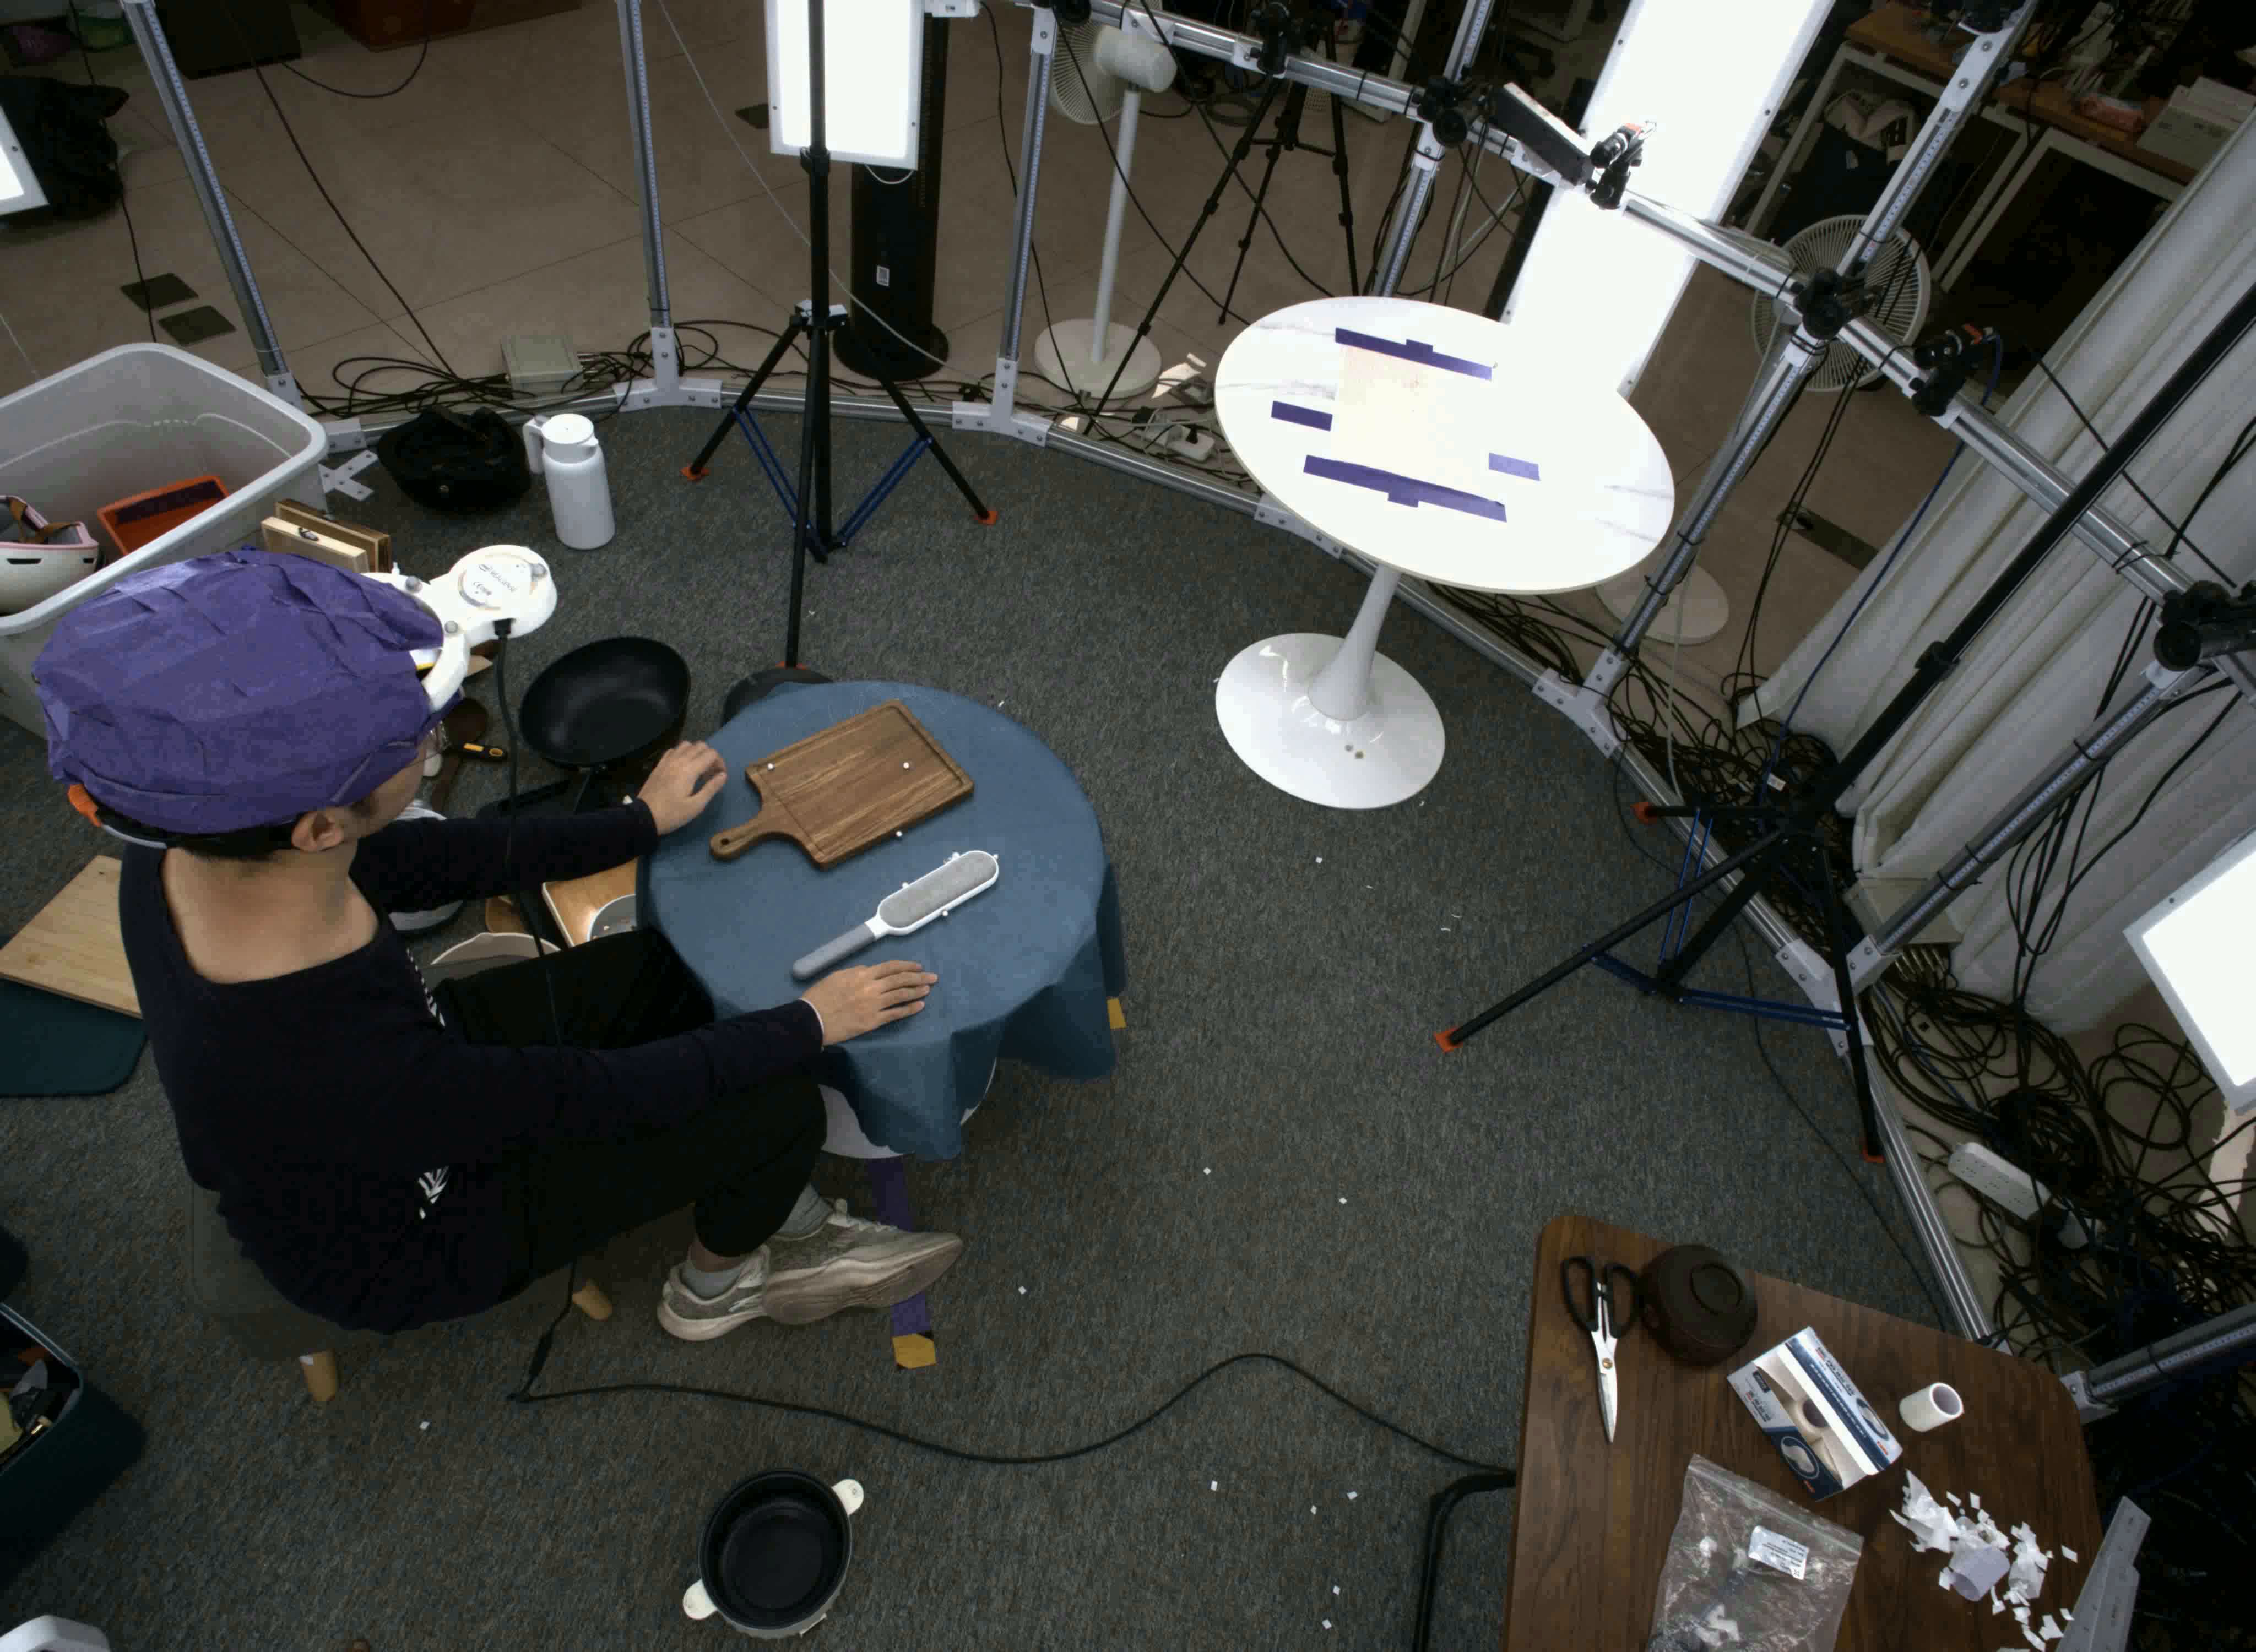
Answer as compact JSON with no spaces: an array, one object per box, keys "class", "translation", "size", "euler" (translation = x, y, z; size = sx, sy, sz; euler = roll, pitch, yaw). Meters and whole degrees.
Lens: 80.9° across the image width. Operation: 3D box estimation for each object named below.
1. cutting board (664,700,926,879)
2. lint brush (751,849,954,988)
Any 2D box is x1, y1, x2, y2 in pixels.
[{"class":"cutting board","translation":[-0.466,-0.034,1.737],"size":[0.353,0.023,0.196],"euler":[-34,68,-32]},{"class":"lint brush","translation":[-0.347,0.114,1.653],"size":[0.310,0.021,0.059],"euler":[-34,73,-32]}]
